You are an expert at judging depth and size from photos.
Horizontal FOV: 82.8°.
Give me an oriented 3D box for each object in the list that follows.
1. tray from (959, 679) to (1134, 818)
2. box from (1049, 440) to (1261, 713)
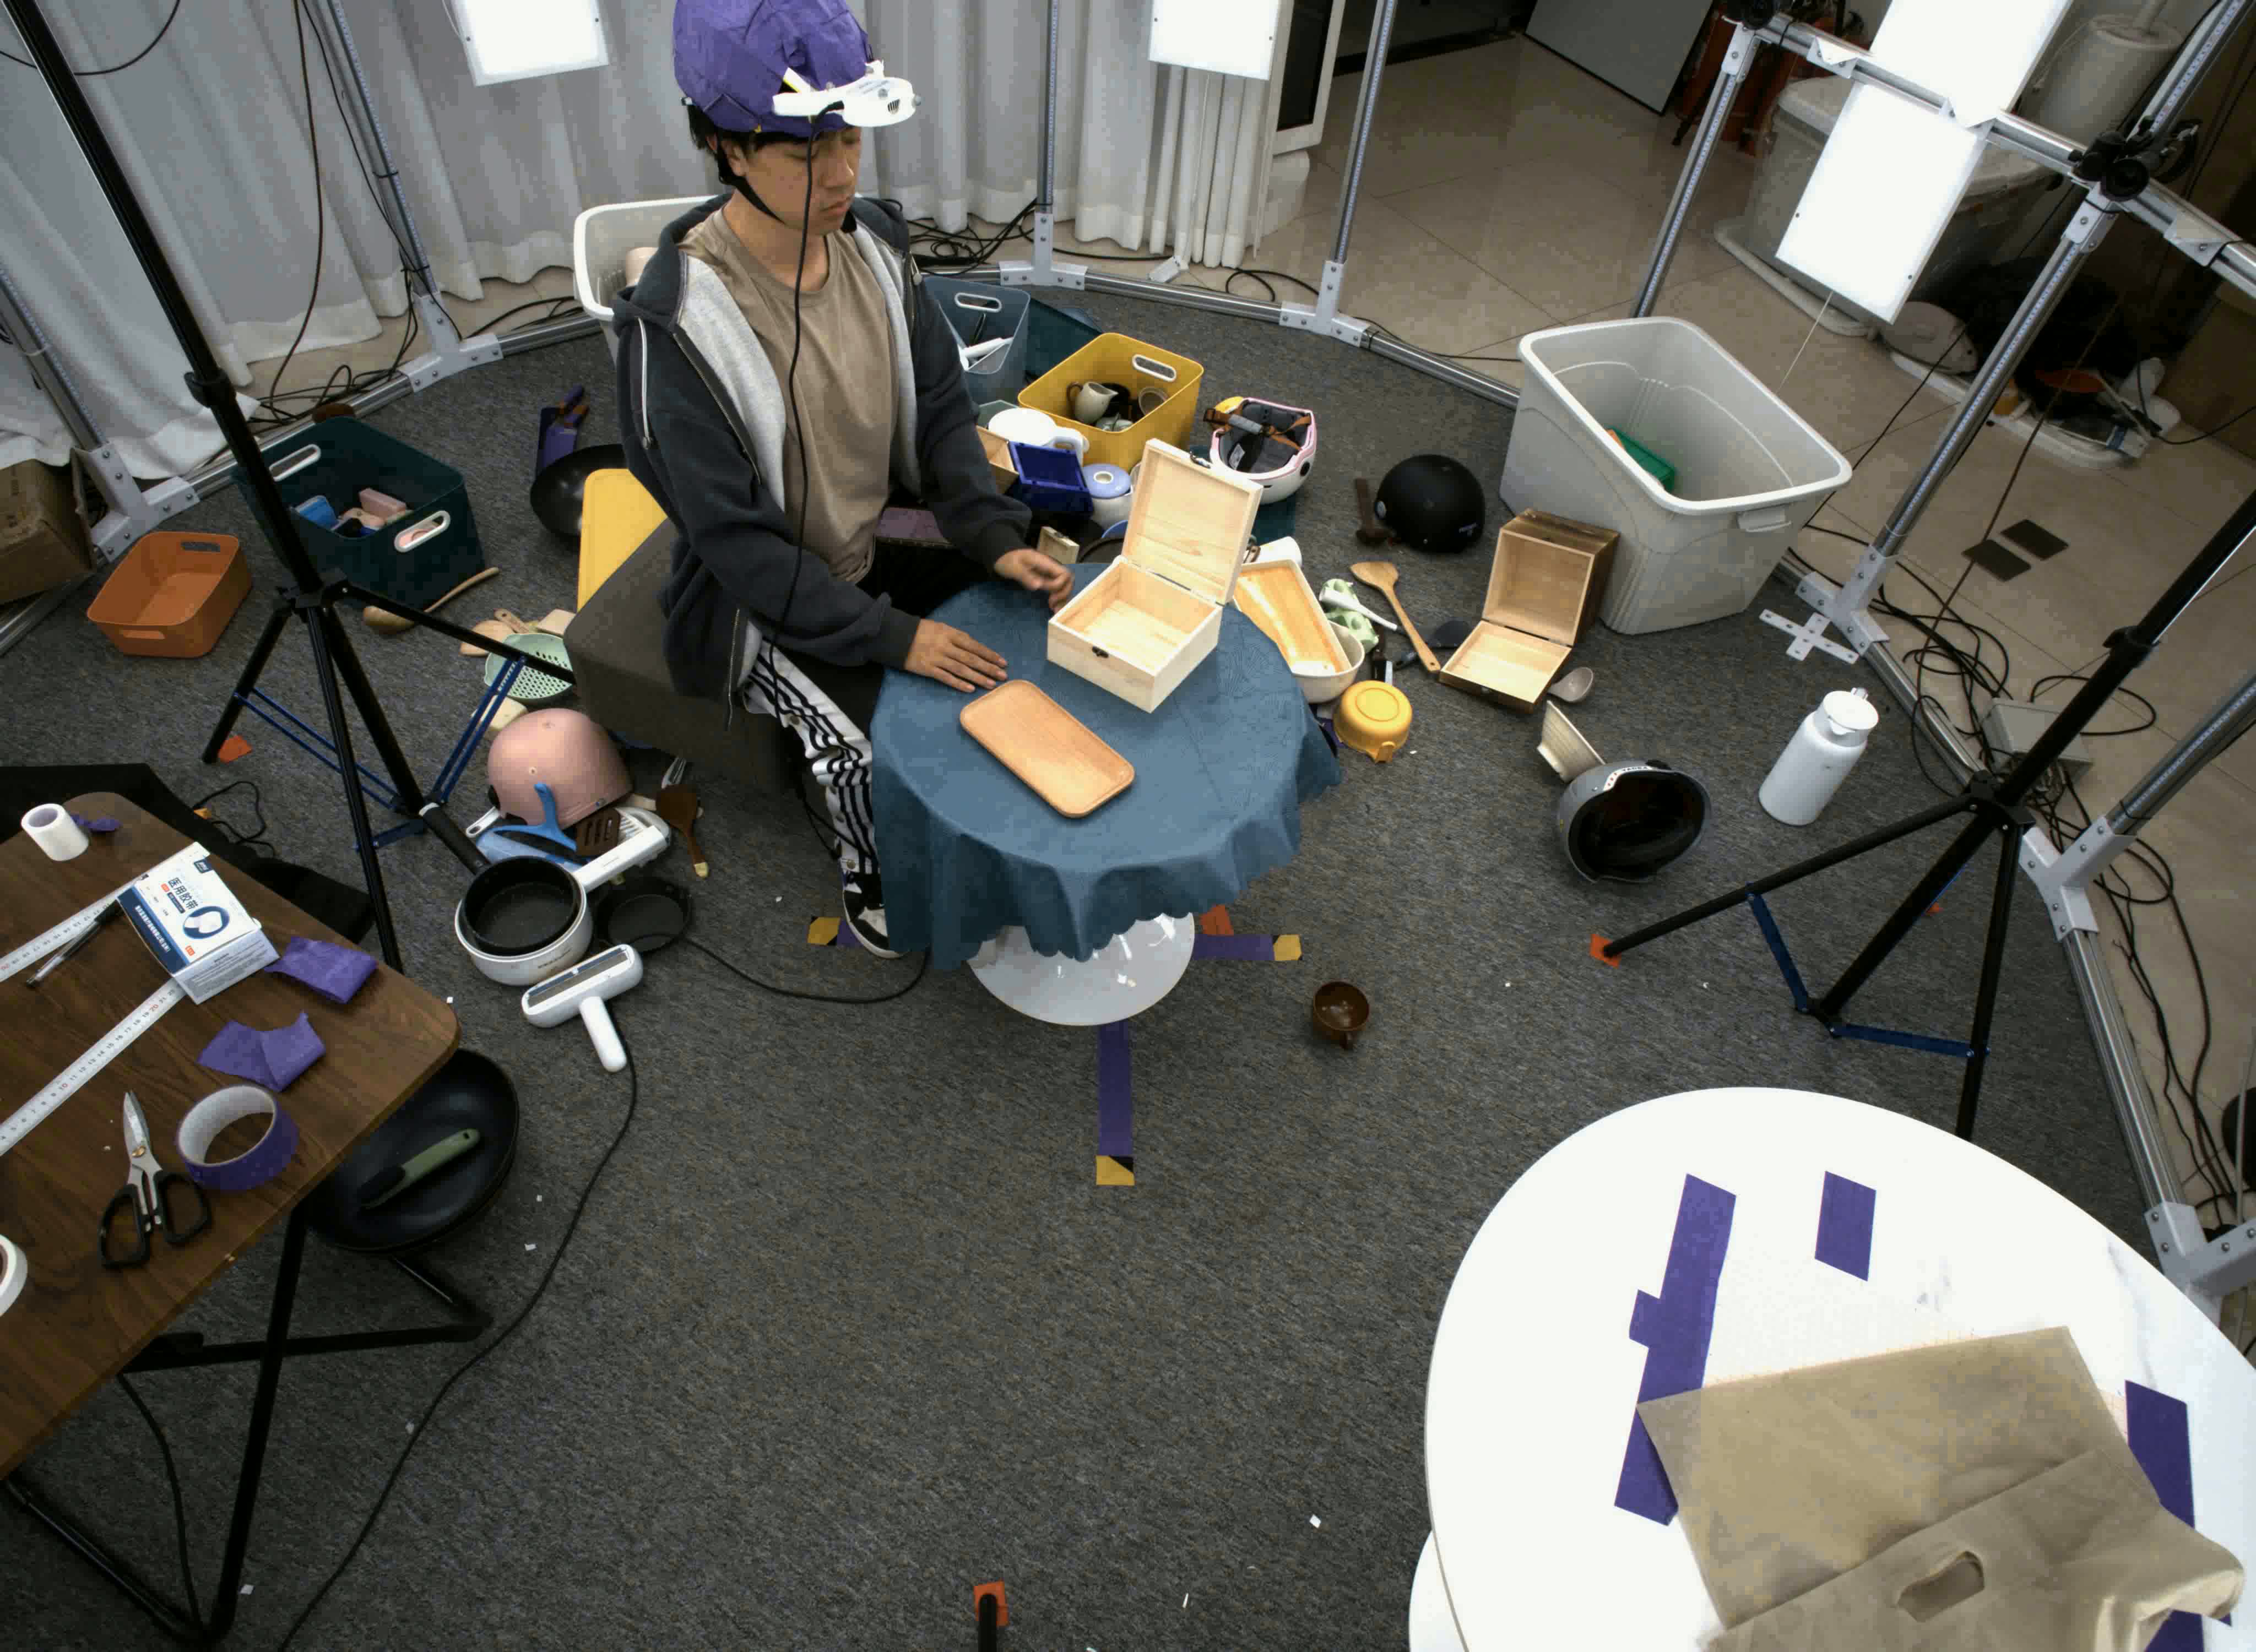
[{"bbox_3d":[-0.112,-0.108,1.740,0.131,0.022,0.255,-32,58,-30],"label":"tray"},{"bbox_3d":[0.033,-0.356,1.820,0.183,0.247,0.269,27,51,21],"label":"box"}]
